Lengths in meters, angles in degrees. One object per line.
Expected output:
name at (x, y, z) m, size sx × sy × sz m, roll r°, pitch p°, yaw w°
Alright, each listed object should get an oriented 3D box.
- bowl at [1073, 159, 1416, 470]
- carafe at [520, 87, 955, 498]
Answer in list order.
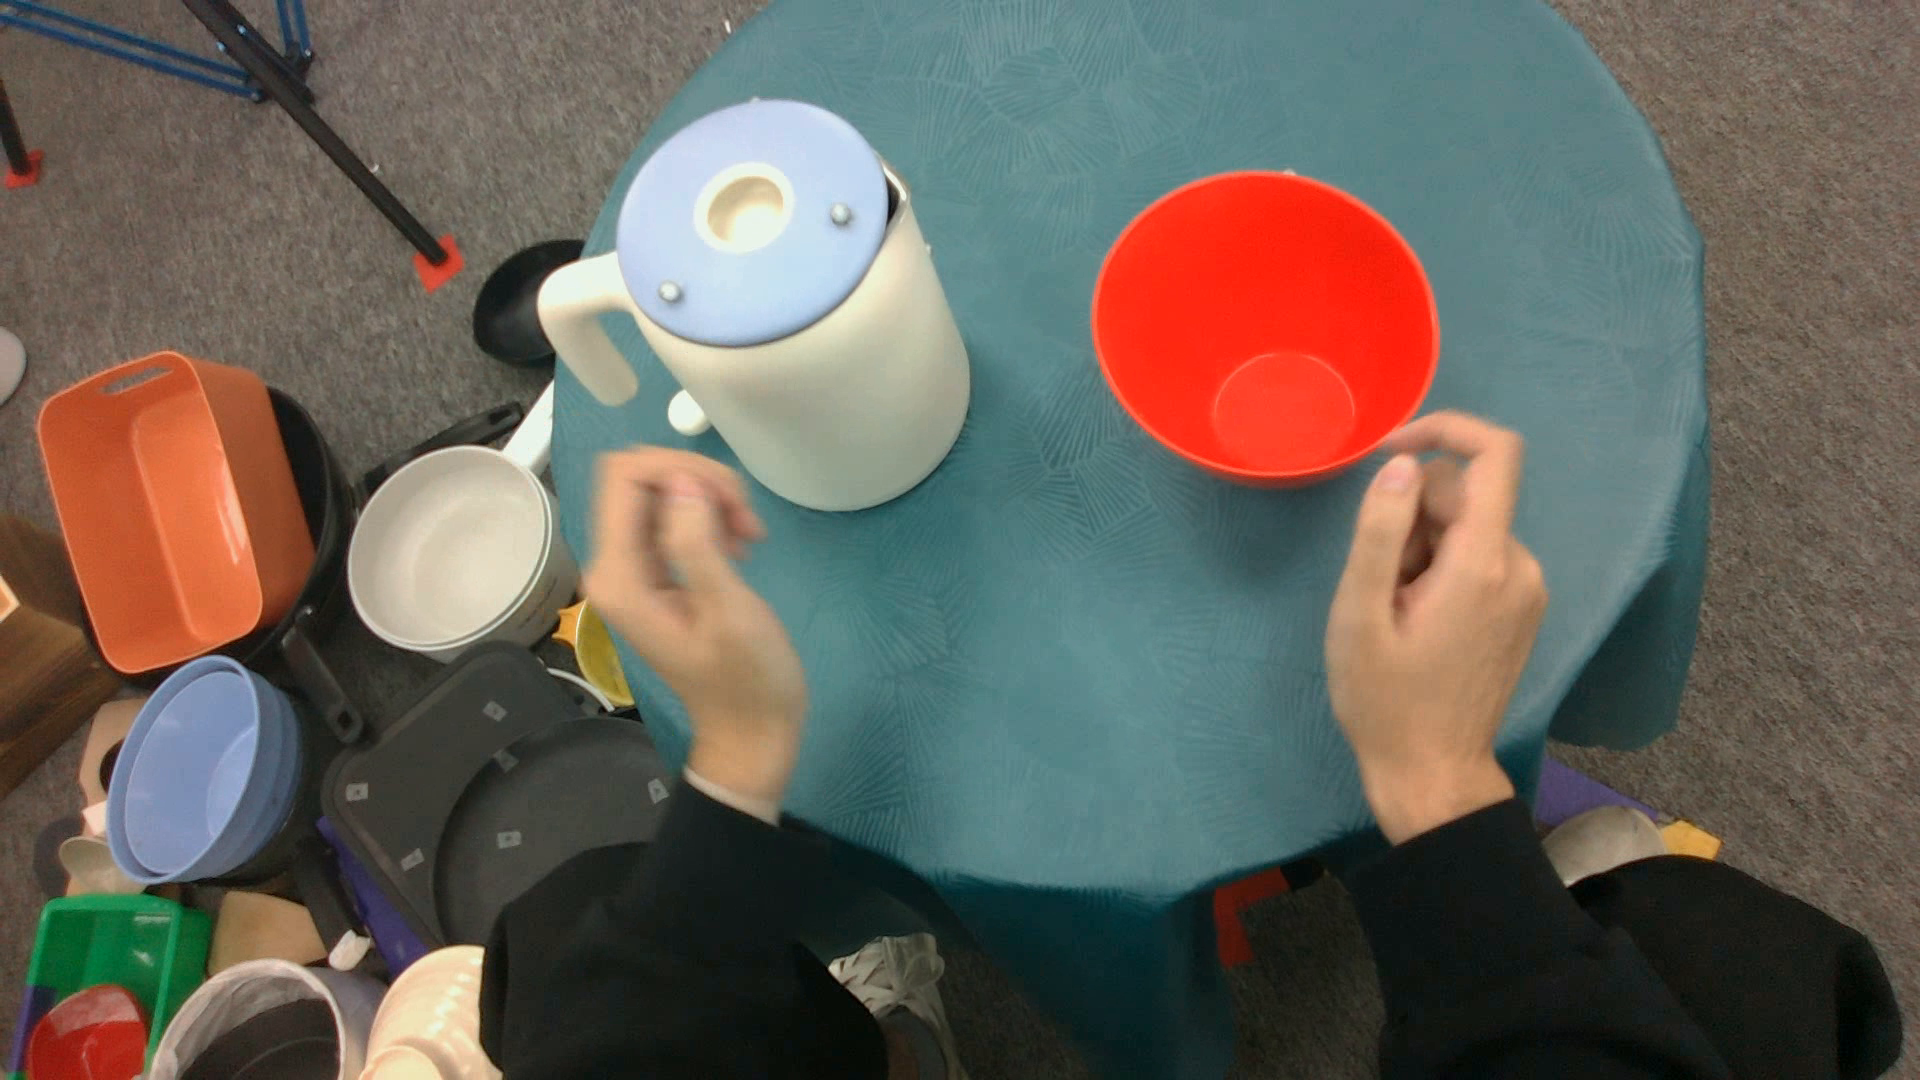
bowl at (0.132, -0.090, 0.641) m, size 0.148 × 0.104 × 0.148 m, roll -4°, pitch 68°, yaw 10°
carafe at (-0.104, -0.105, 0.653) m, size 0.191 × 0.182 × 0.132 m, roll -12°, pitch 66°, yaw 9°
